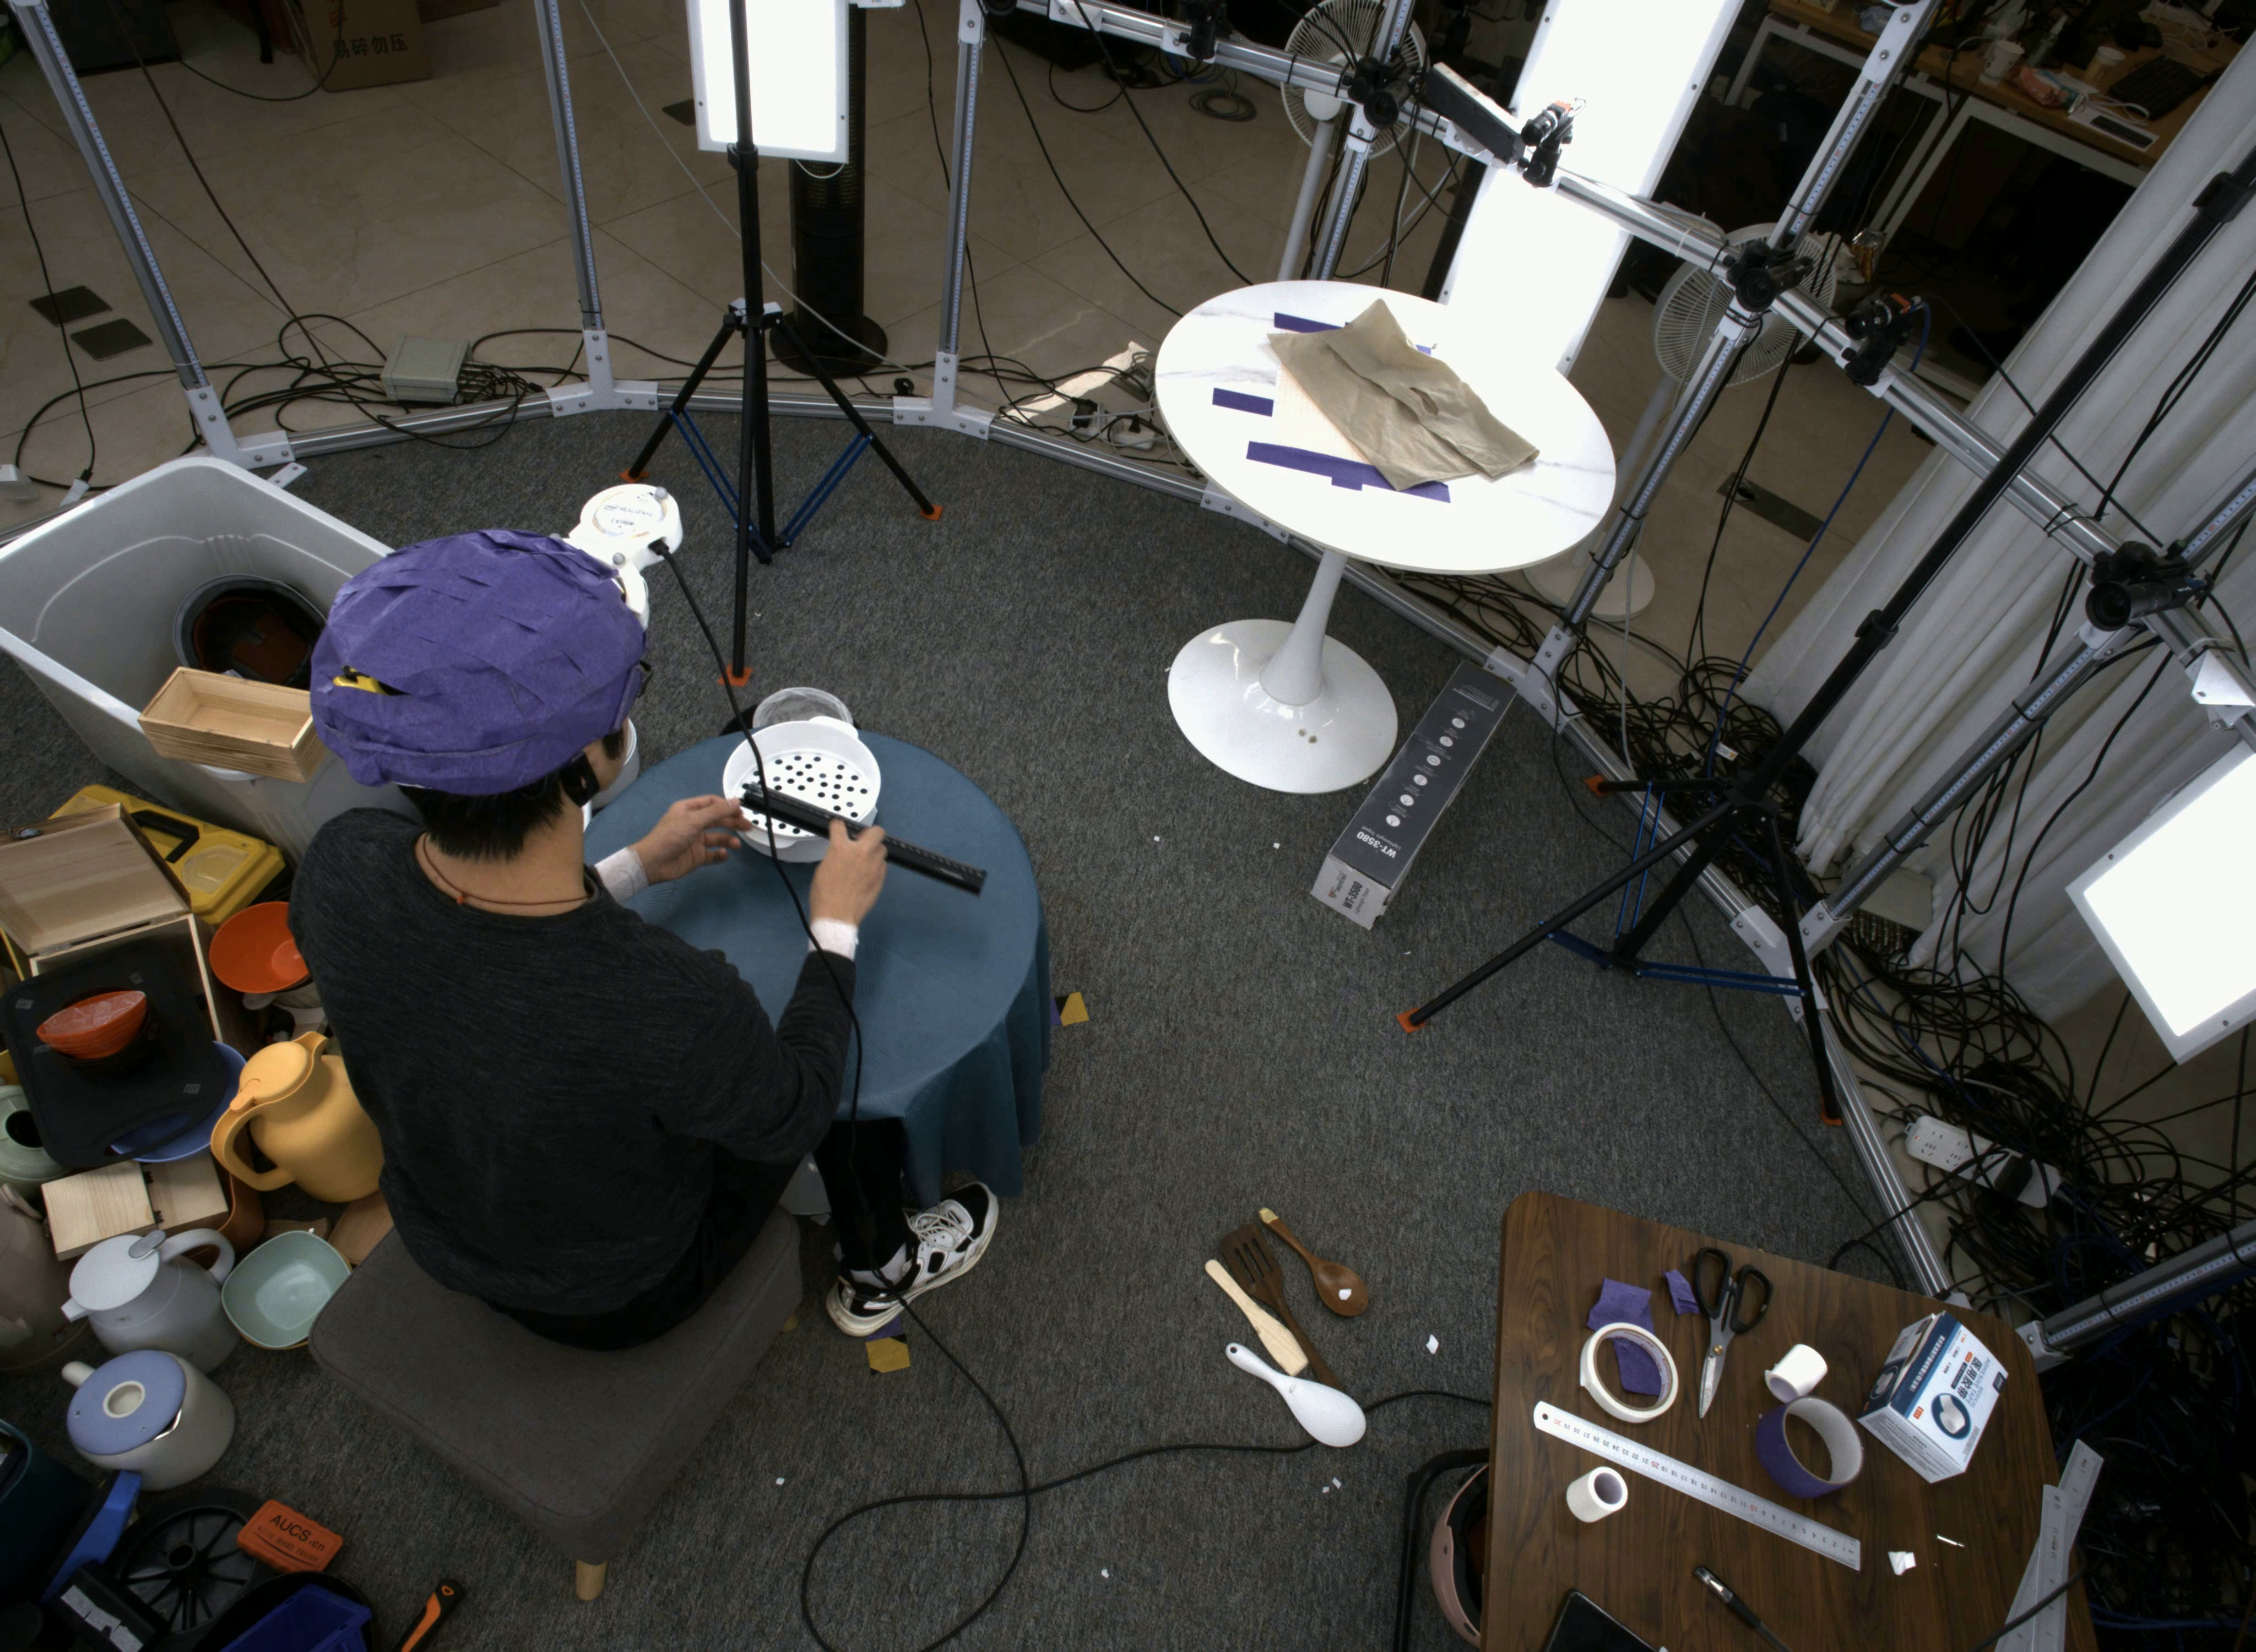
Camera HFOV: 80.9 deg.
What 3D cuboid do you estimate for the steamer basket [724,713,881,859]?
[{"bbox_3d":[-0.428,-0.049,1.710,0.200,0.070,0.228,19,49,0],"label":"steamer basket"}]

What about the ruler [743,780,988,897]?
[{"bbox_3d":[-0.319,0.012,1.598,0.313,0.017,0.039,22,54,-9],"label":"ruler"}]
